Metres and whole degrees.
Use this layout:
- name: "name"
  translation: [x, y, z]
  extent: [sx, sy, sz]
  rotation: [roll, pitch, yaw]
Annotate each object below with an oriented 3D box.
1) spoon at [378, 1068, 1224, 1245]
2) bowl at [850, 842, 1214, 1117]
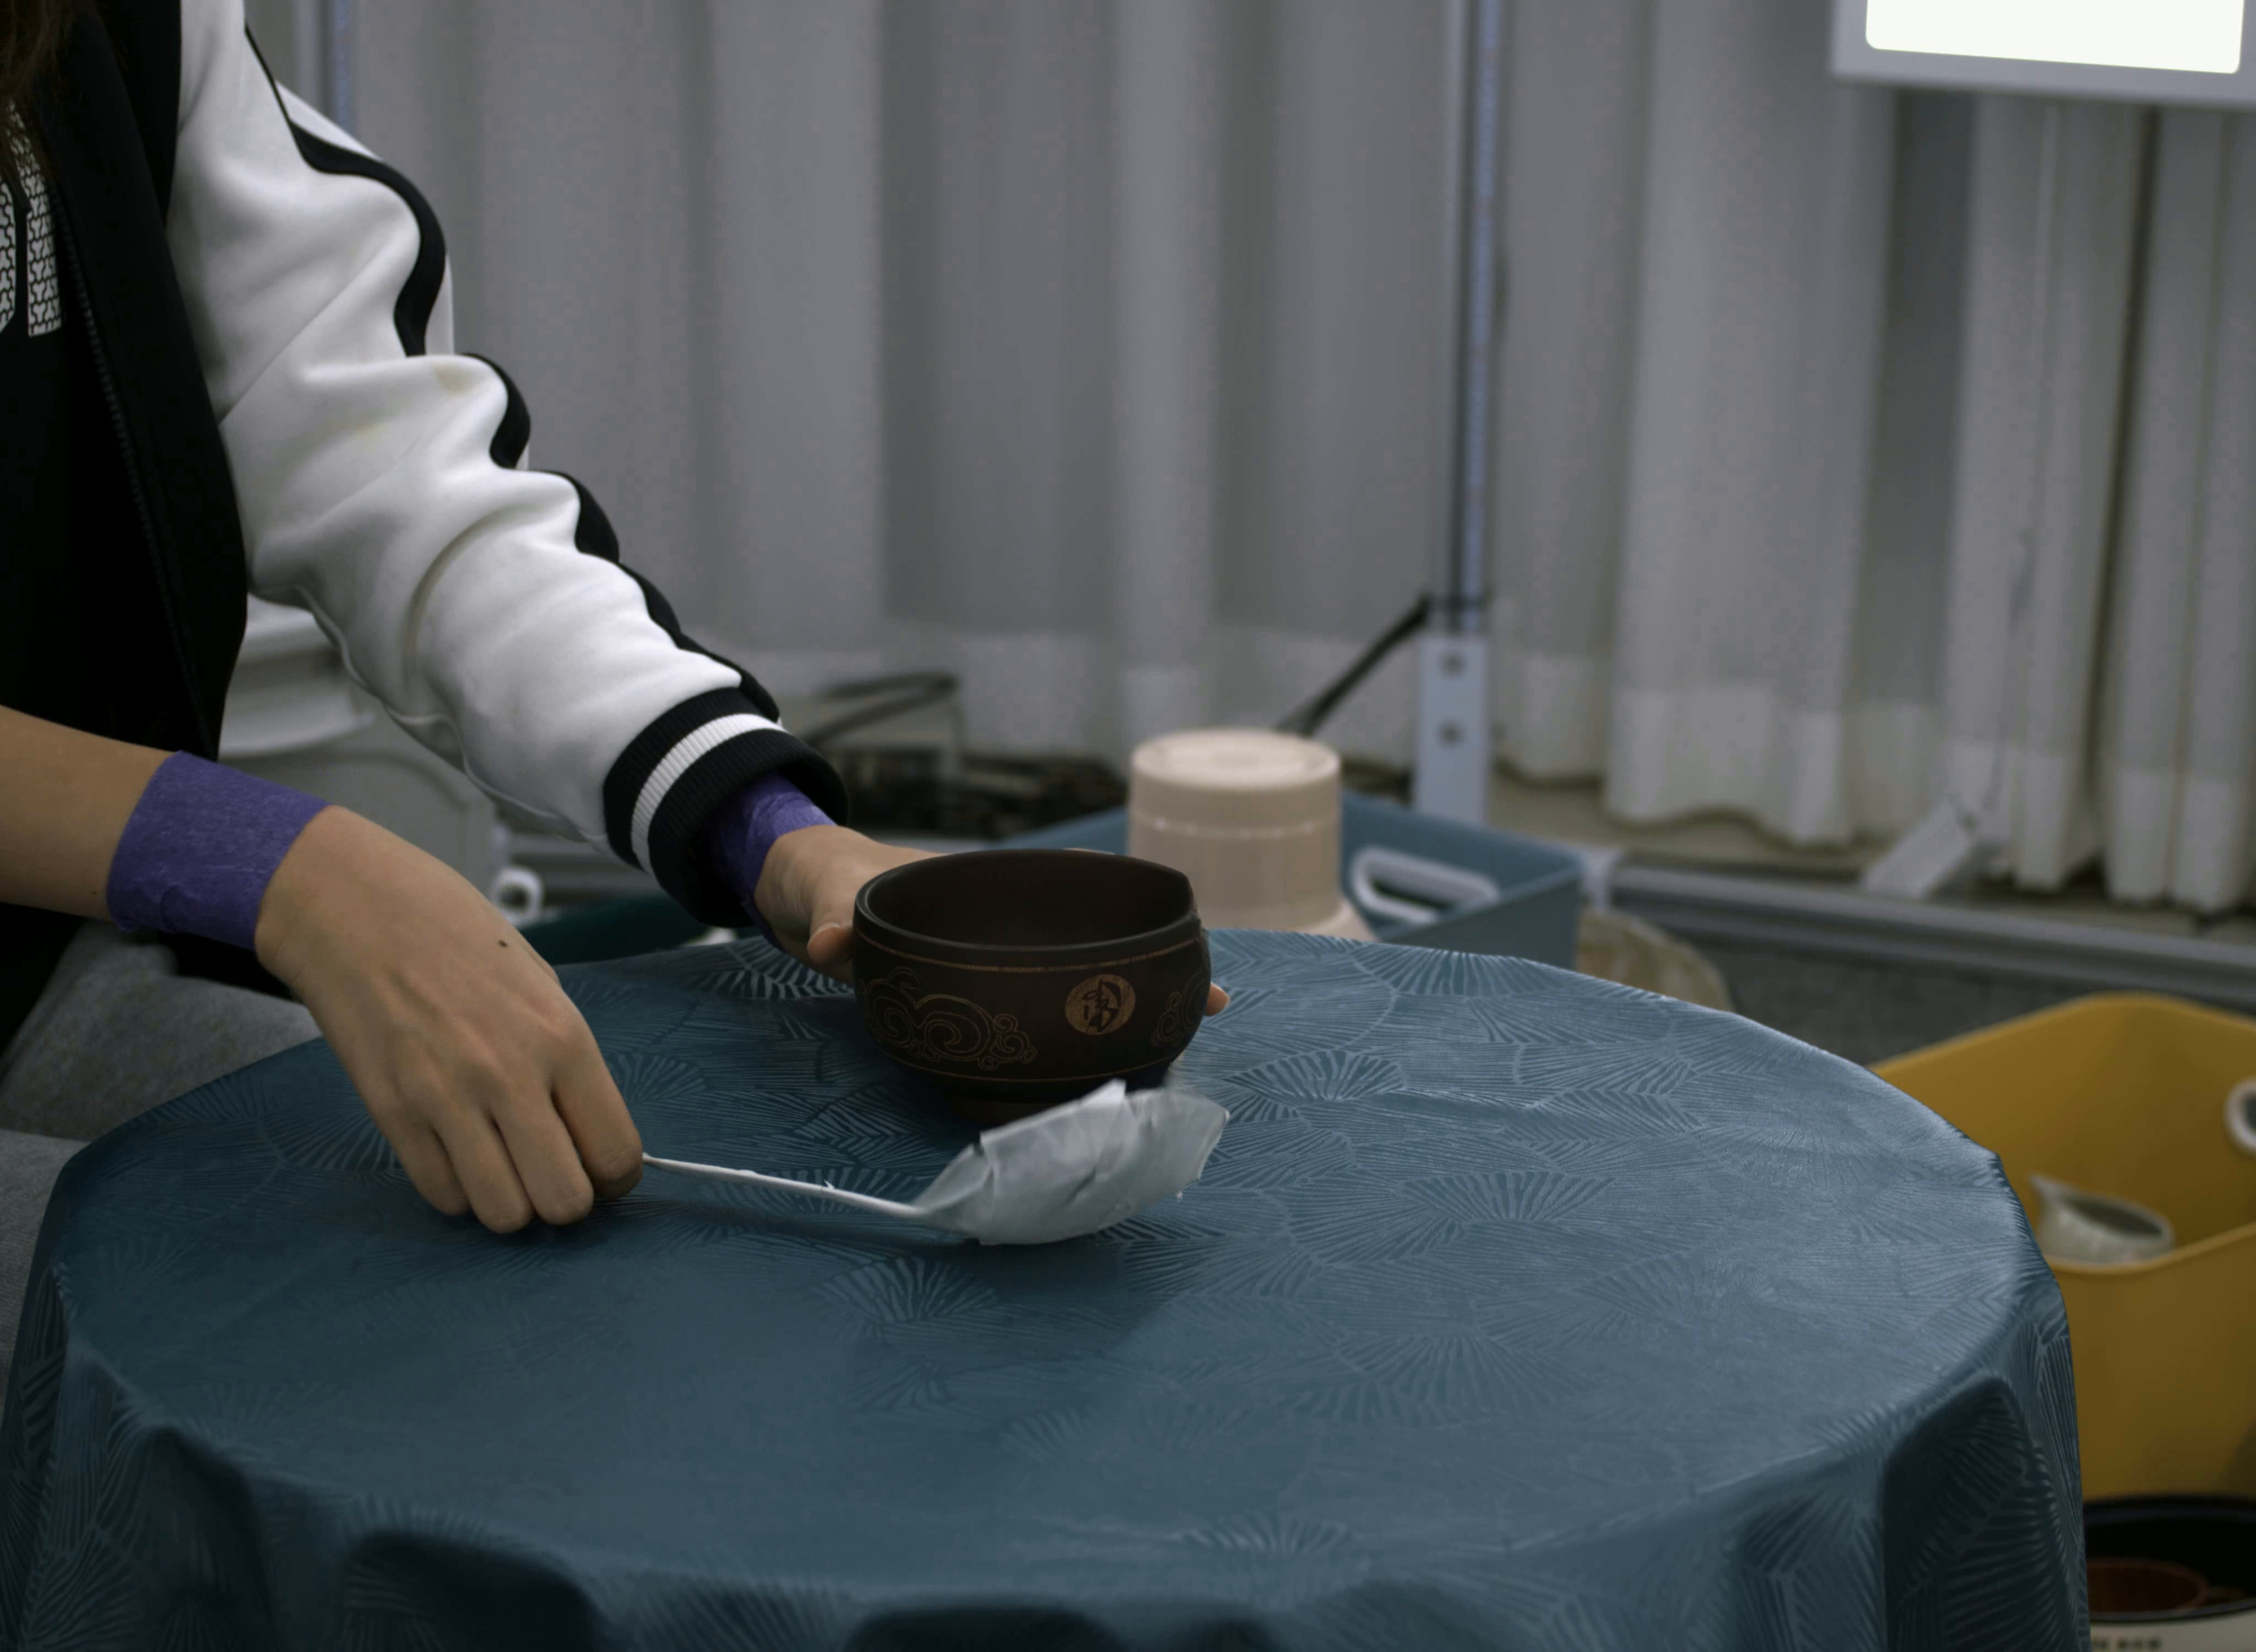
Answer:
- name: "spoon"
  translation: [-0.103, 0.086, 1.600]
  extent: [0.274, 0.059, 0.102]
  rotation: [8, -18, 26]
- name: "bowl"
  translation: [-0.031, 0.054, 1.695]
  extent: [0.117, 0.070, 0.117]
  rotation: [1, 16, 0]
